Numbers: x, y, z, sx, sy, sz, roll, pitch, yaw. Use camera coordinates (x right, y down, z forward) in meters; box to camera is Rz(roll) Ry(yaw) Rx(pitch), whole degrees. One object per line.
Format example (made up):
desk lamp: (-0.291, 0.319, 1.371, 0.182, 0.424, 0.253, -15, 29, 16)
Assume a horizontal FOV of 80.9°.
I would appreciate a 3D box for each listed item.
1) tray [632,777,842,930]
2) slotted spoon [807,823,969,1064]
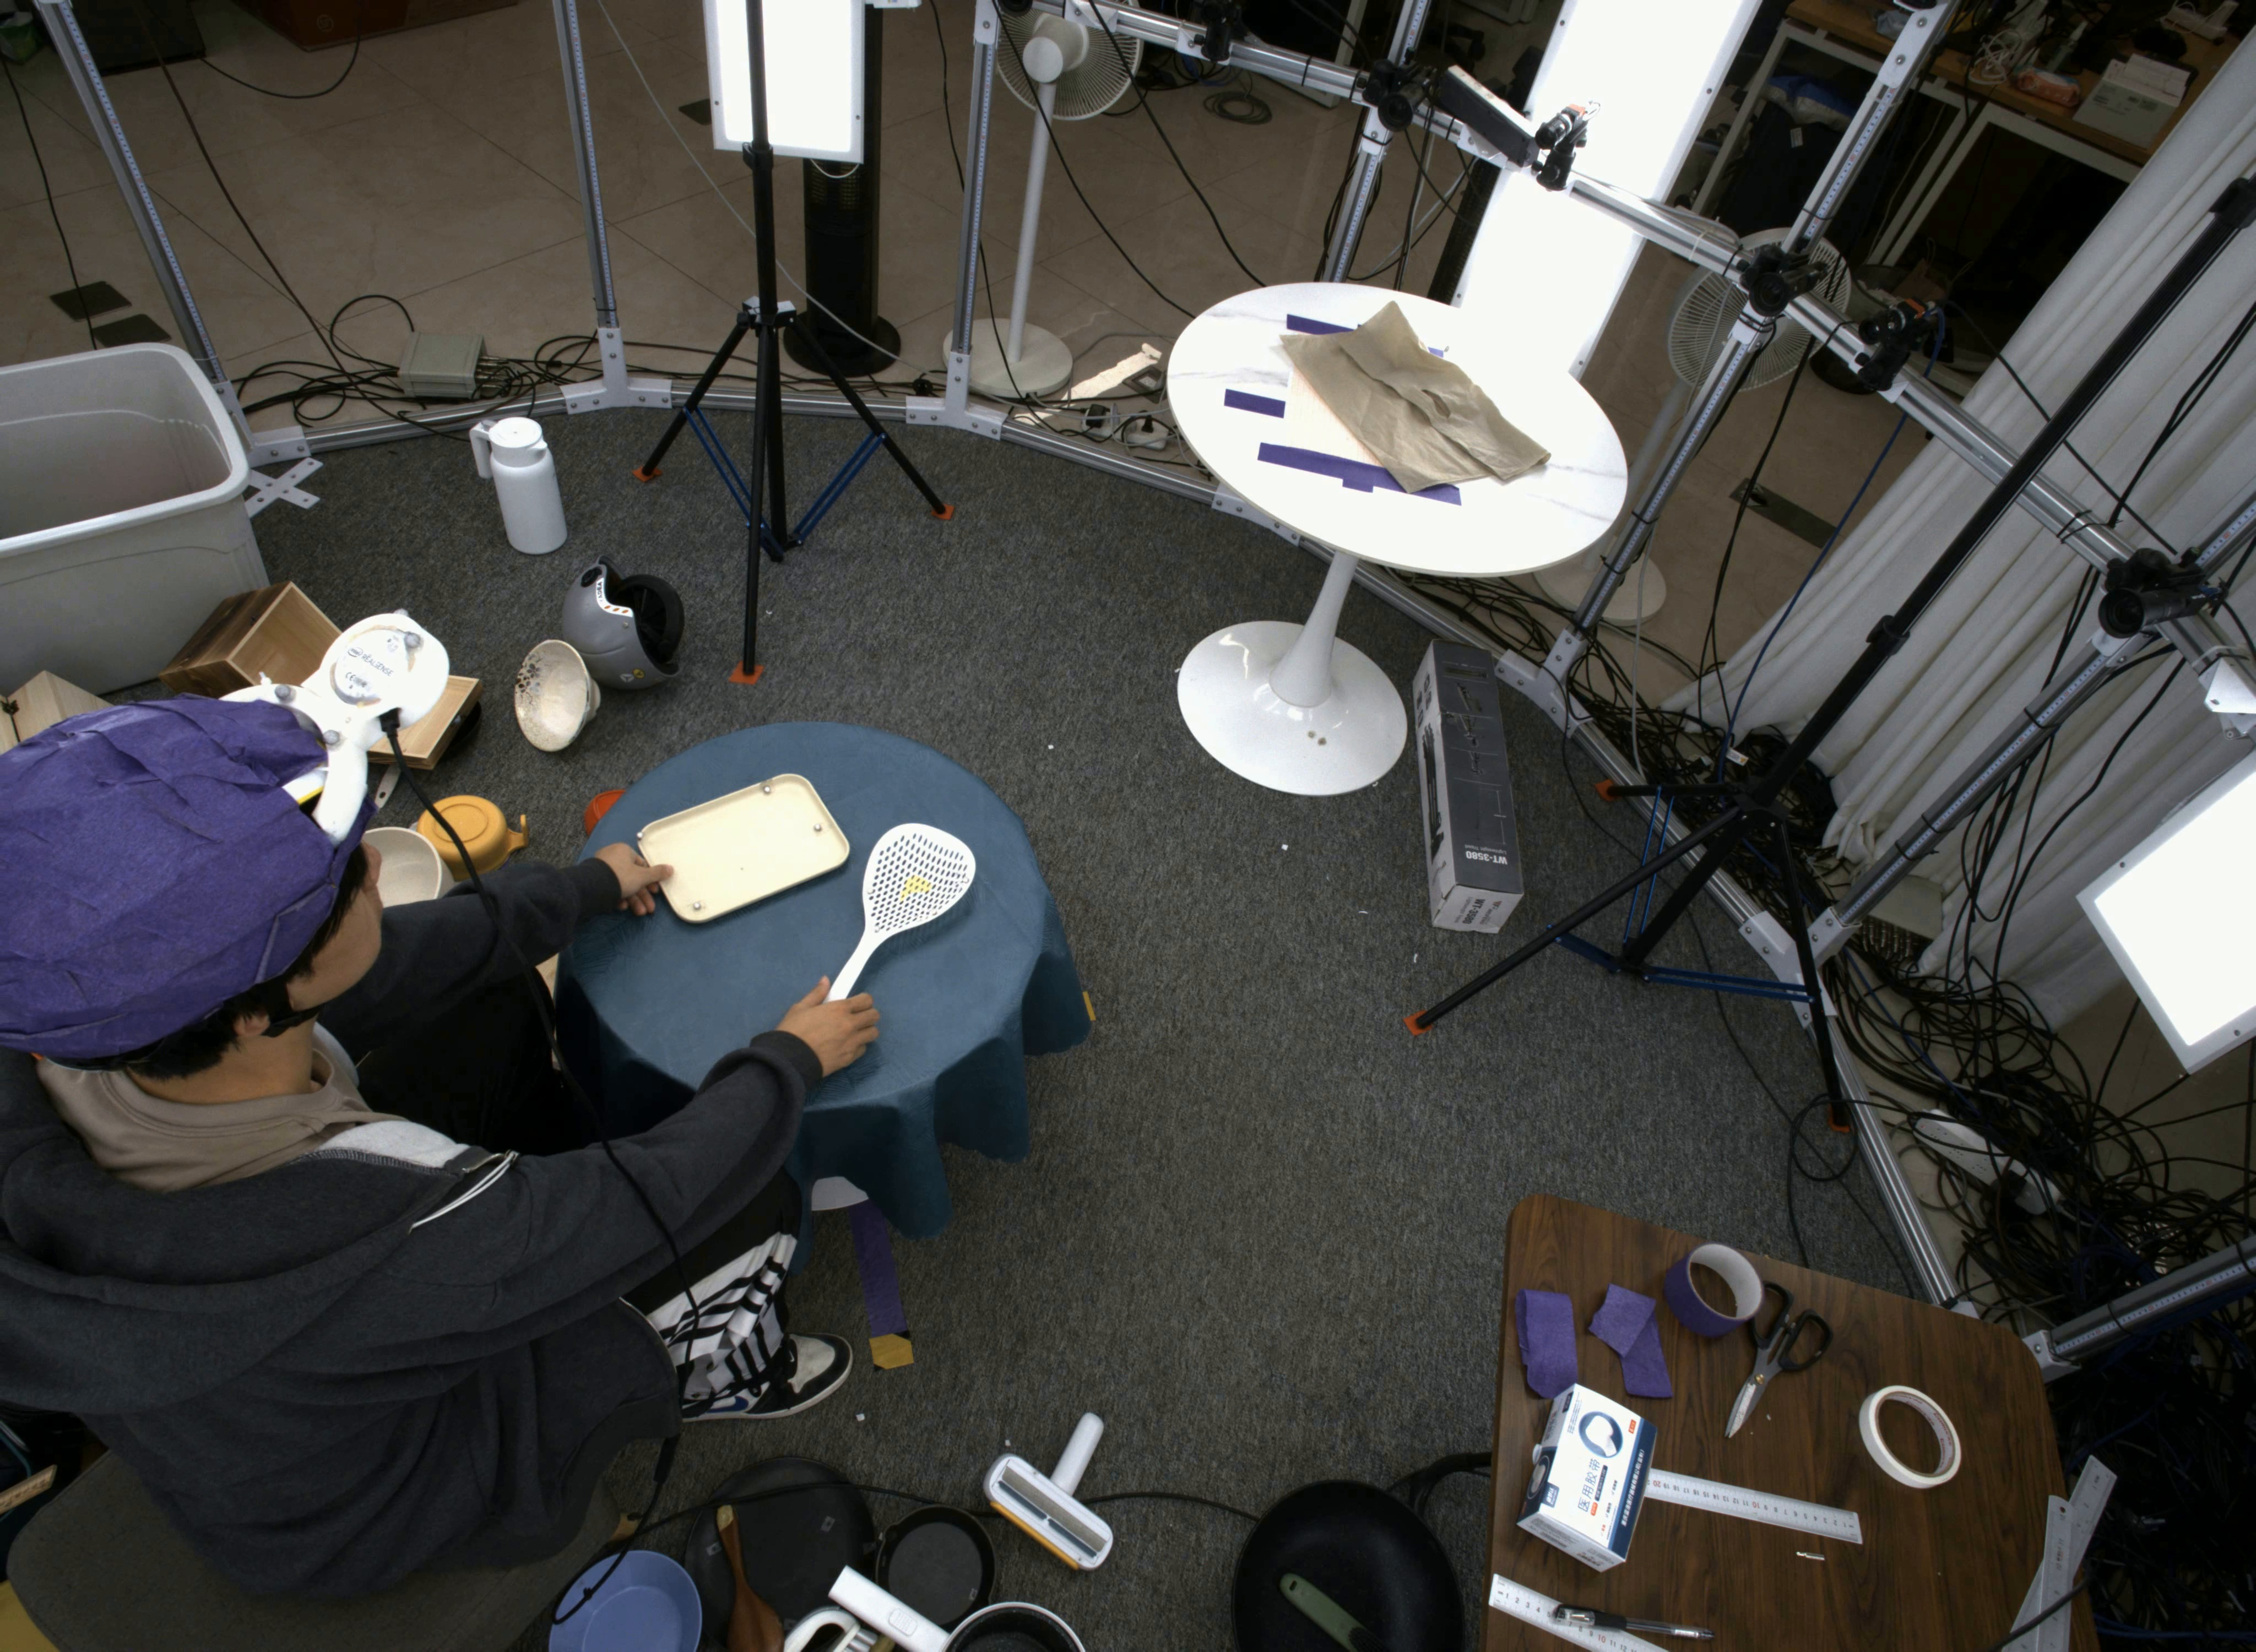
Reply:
tray: (-0.506, 0.032, 1.672, 0.241, 0.018, 0.167, -24, 64, -29)
slotted spoon: (-0.318, 0.140, 1.625, 0.135, 0.051, 0.345, 25, 51, 3)
